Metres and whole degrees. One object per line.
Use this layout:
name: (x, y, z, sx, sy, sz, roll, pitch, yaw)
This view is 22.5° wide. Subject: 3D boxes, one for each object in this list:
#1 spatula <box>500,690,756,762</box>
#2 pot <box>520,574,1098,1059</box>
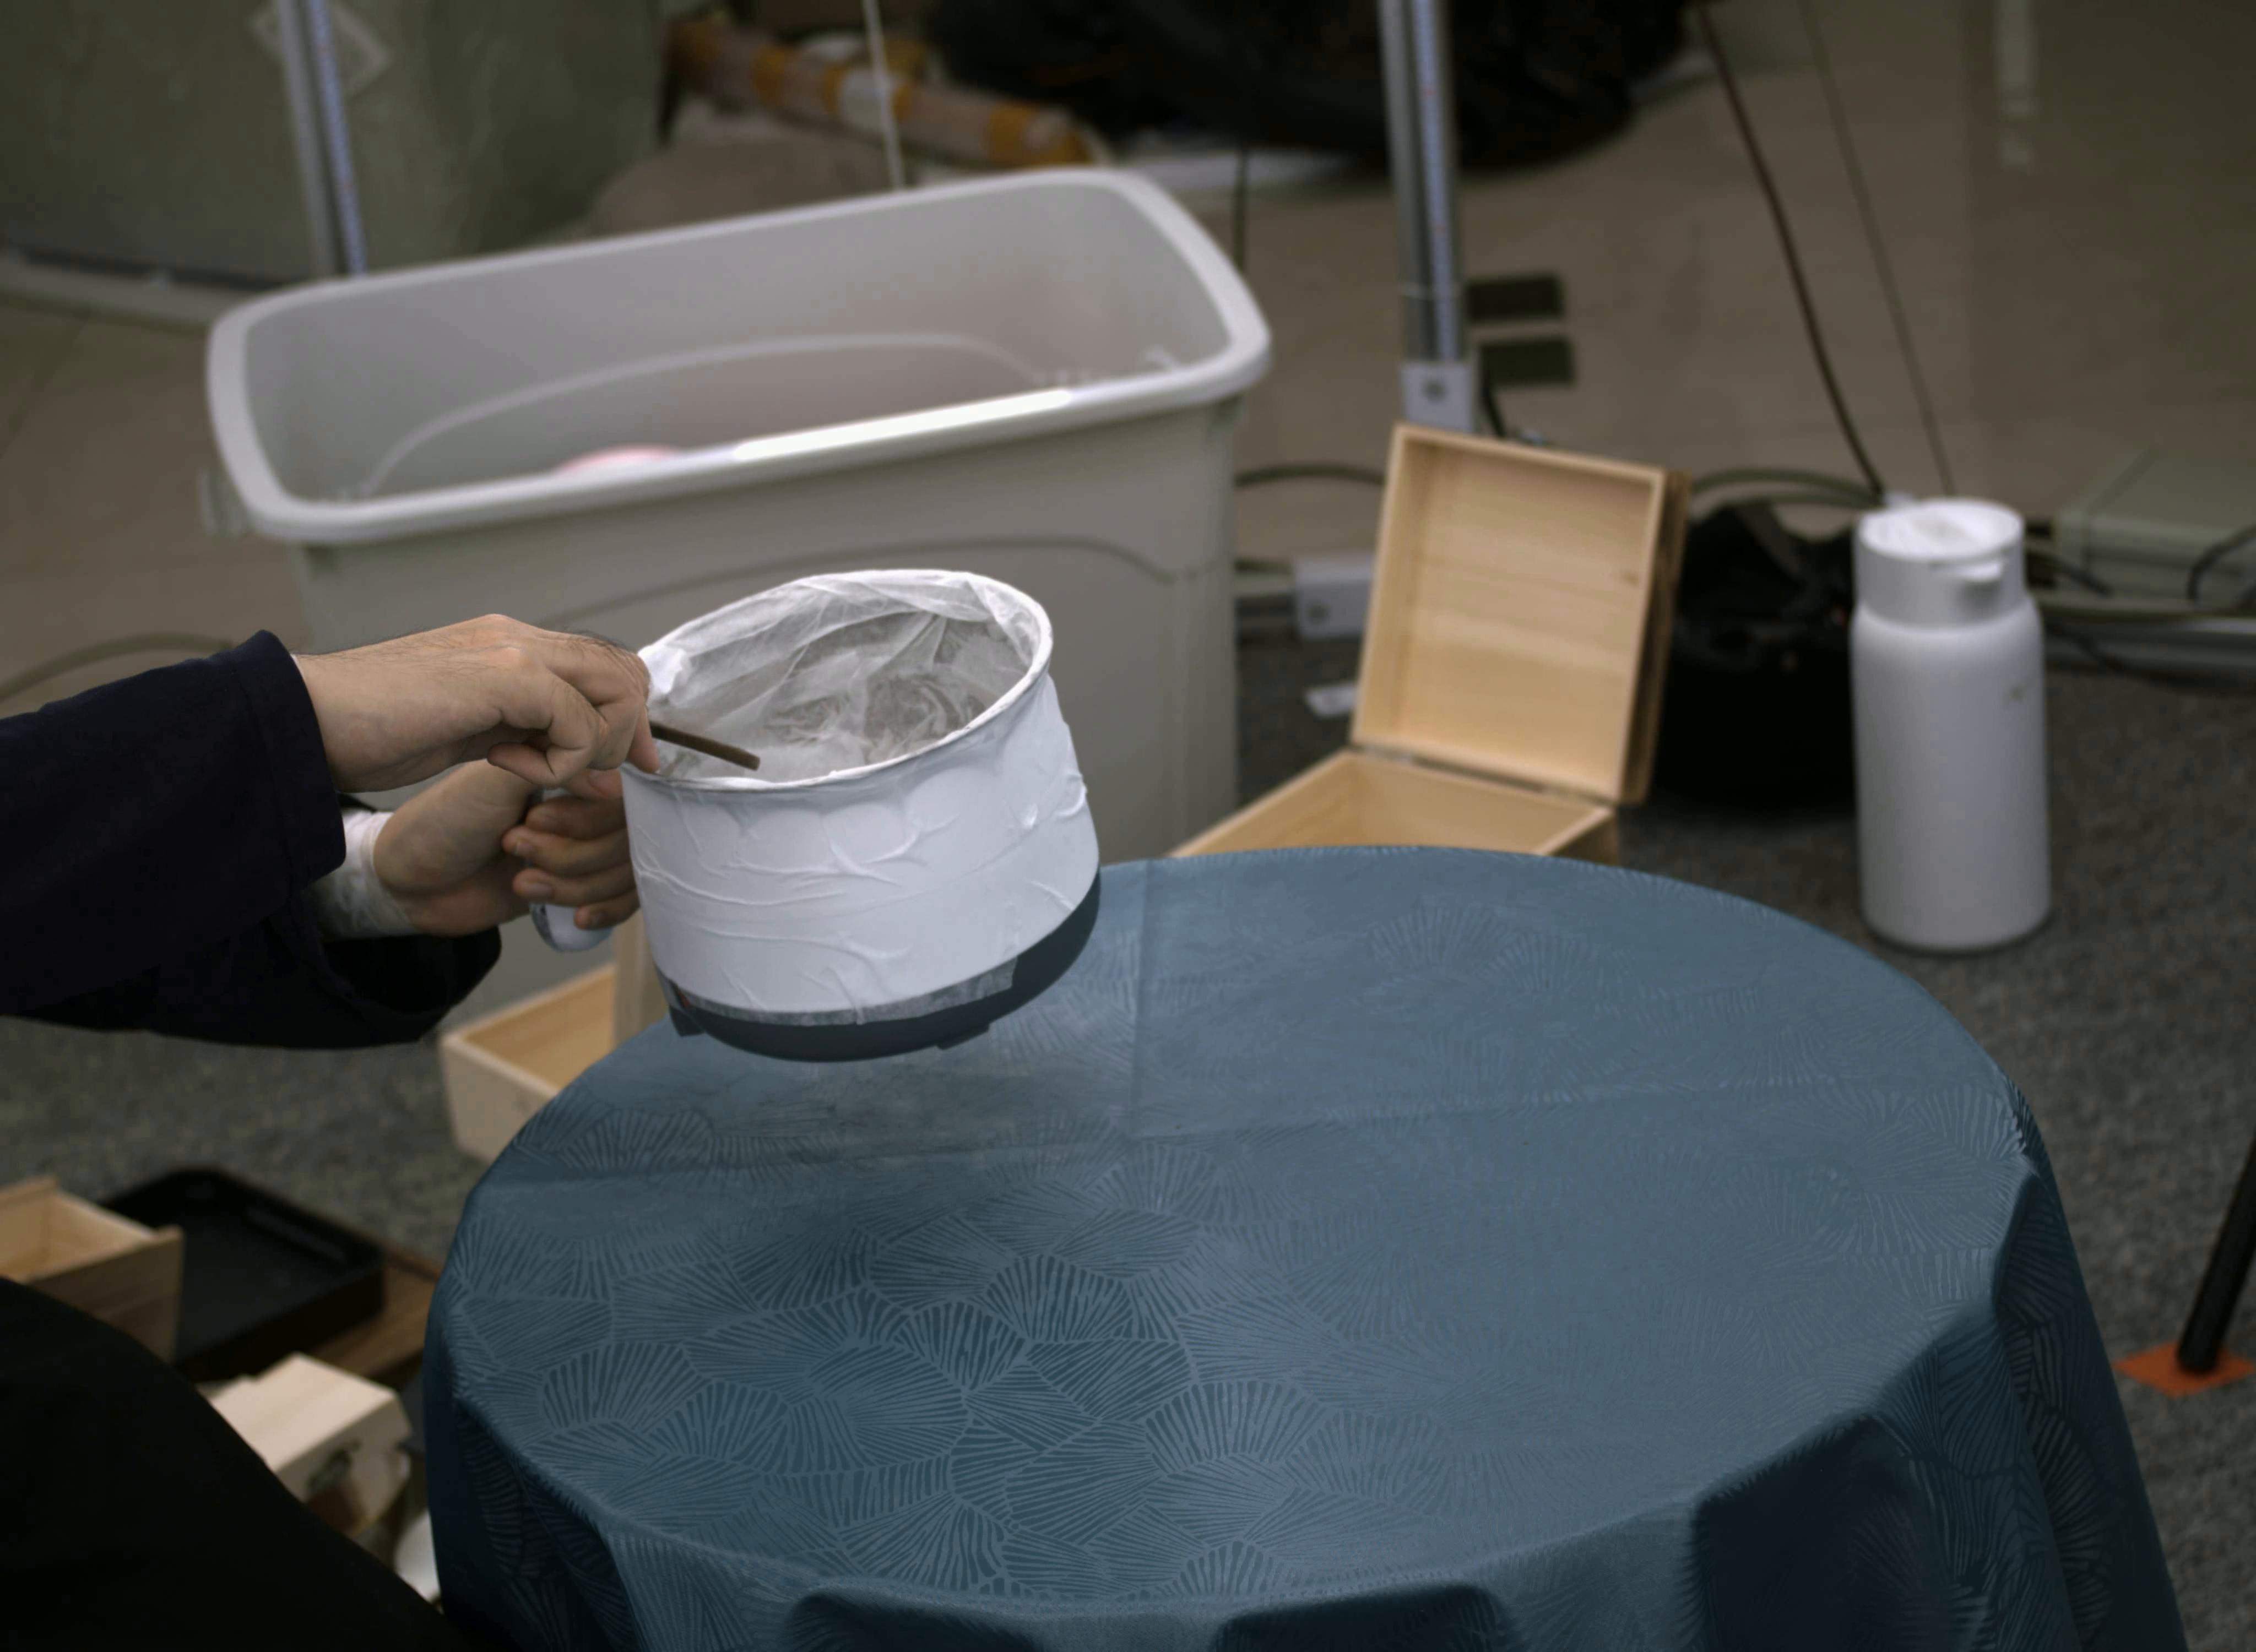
spatula: (-0.188, -0.037, 2.047, 0.071, 0.009, 0.216, 23, 4, 12)
pot: (-0.130, -0.002, 2.174, 0.233, 0.139, 0.176, 0, 28, 19)
